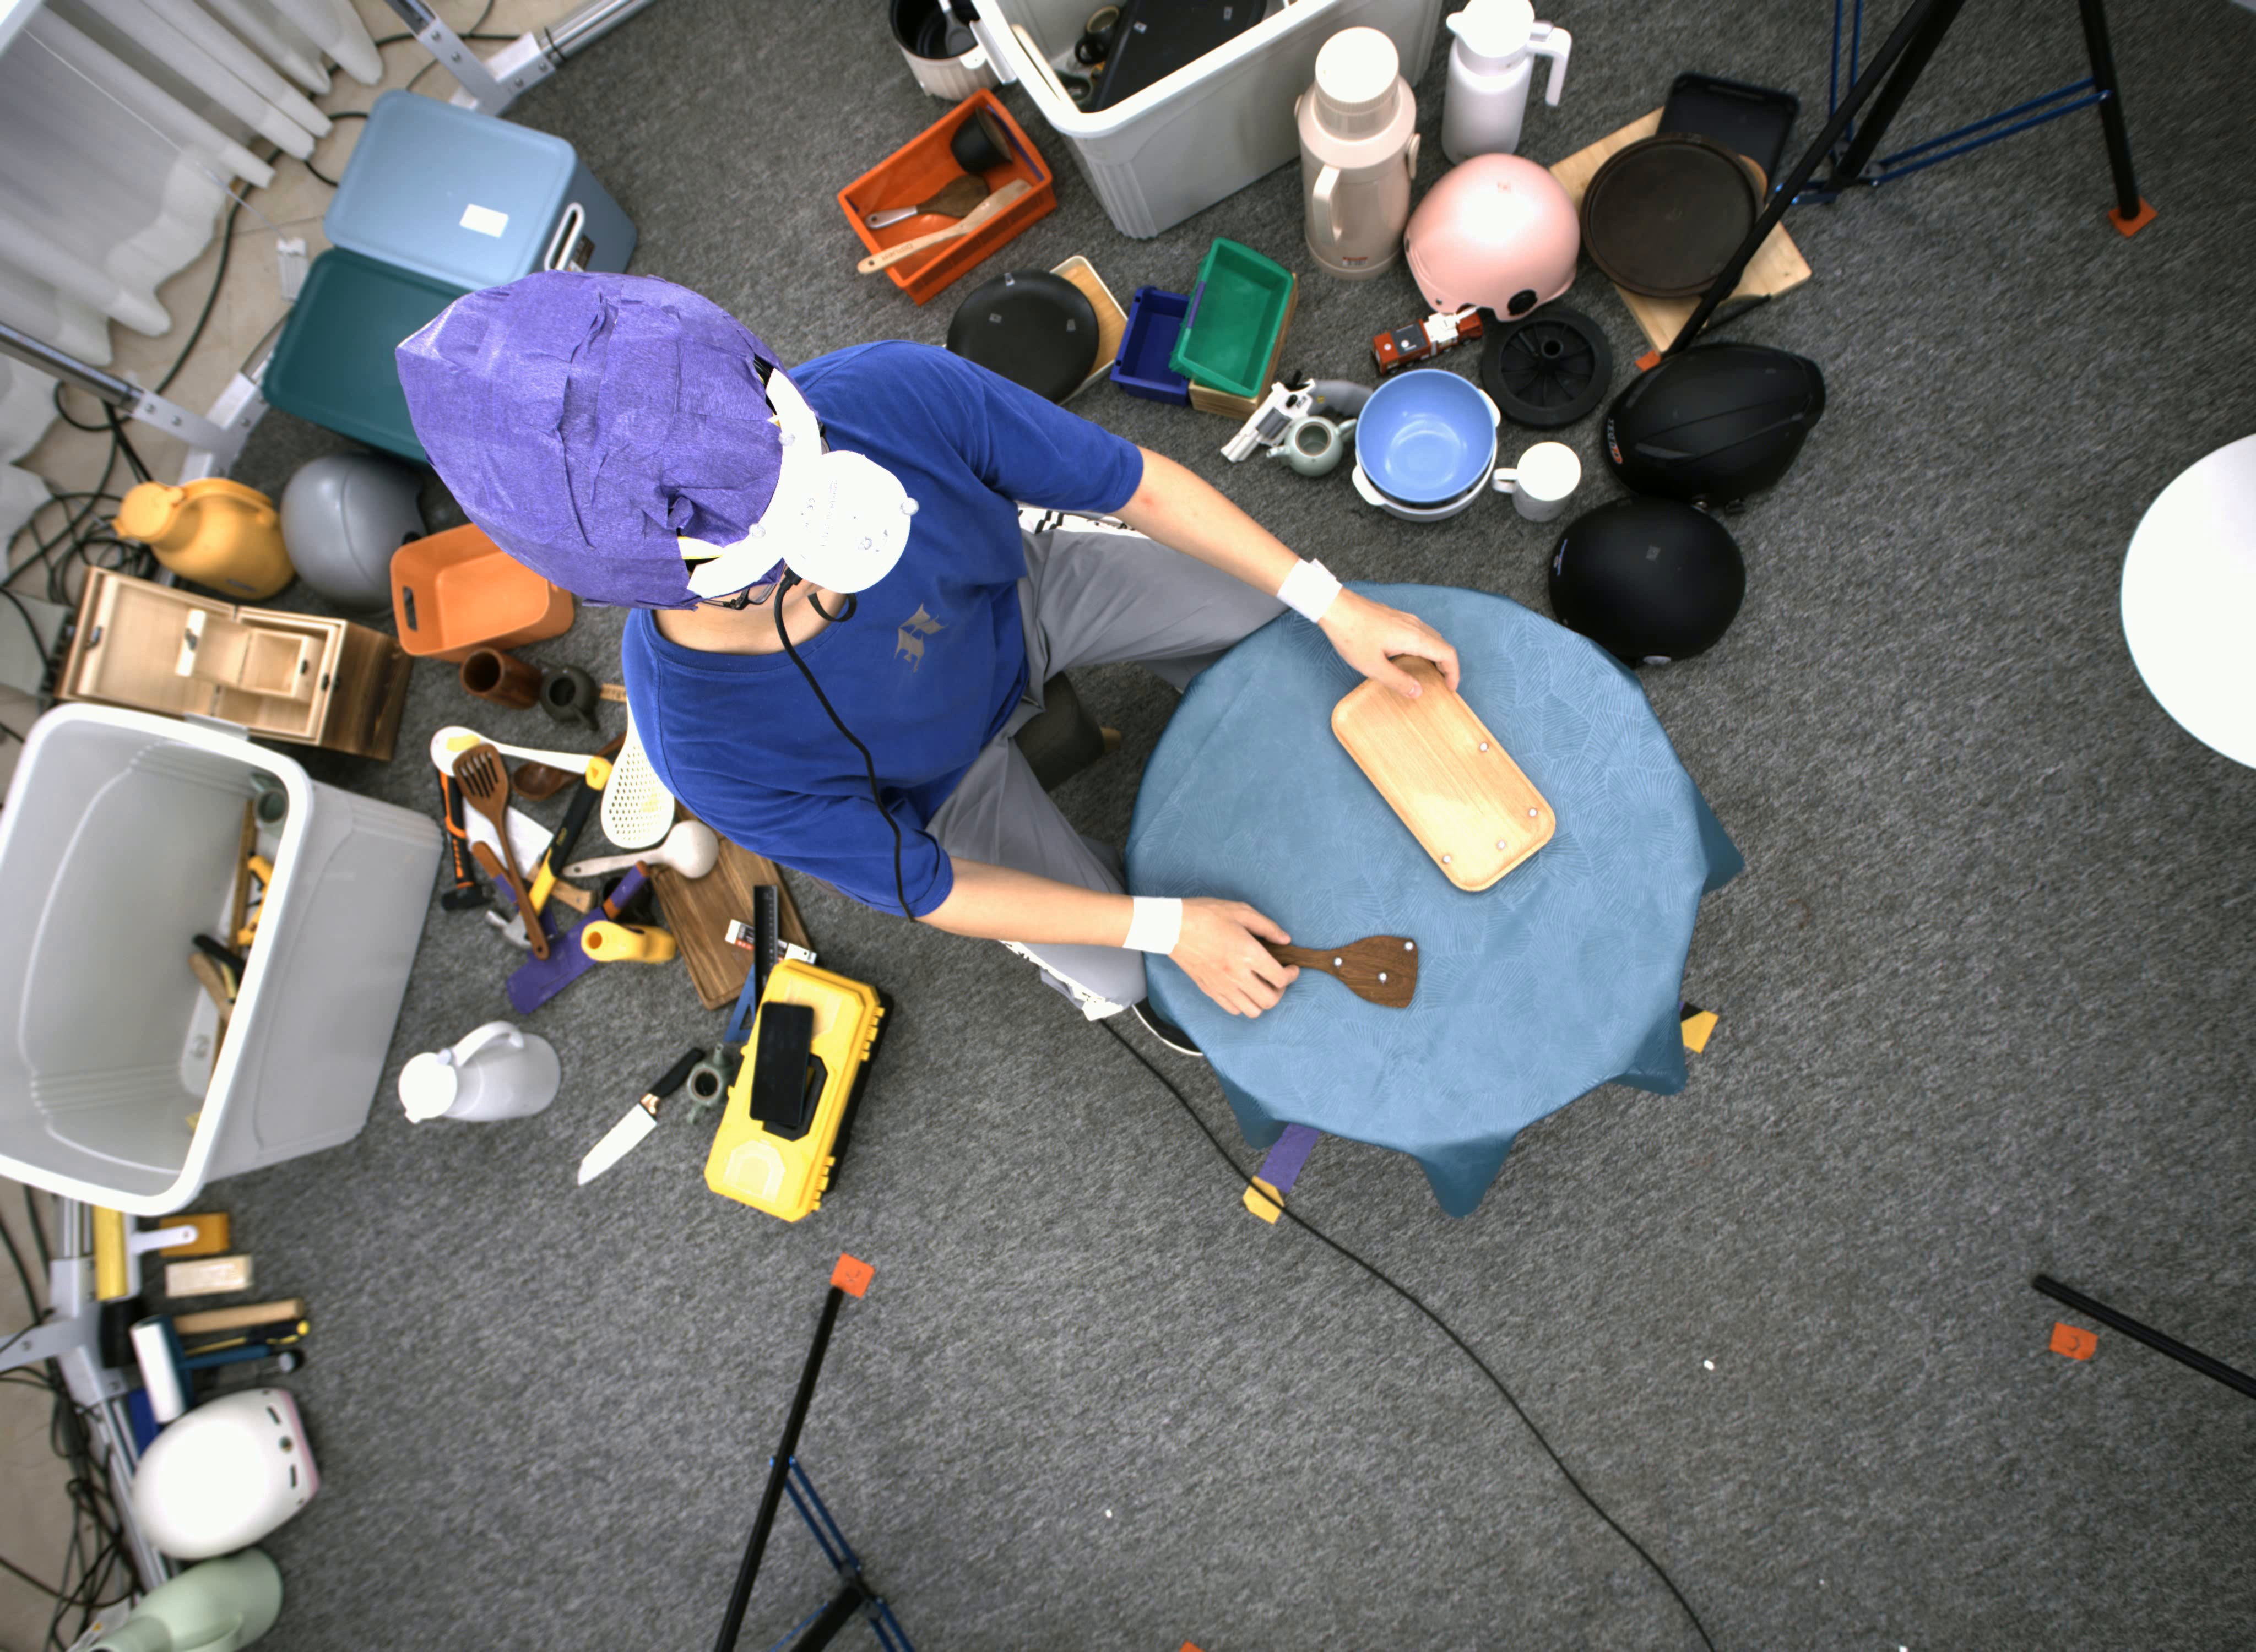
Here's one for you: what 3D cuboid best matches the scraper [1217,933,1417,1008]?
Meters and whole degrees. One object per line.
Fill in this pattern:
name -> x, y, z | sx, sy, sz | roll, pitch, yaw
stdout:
scraper -> 0.198, 0.140, 1.463 | 0.212, 0.011, 0.075 | 8, 87, 11

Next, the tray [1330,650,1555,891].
tray -> 0.328, -0.061, 1.438 | 0.131, 0.023, 0.249 | -37, 82, 10
